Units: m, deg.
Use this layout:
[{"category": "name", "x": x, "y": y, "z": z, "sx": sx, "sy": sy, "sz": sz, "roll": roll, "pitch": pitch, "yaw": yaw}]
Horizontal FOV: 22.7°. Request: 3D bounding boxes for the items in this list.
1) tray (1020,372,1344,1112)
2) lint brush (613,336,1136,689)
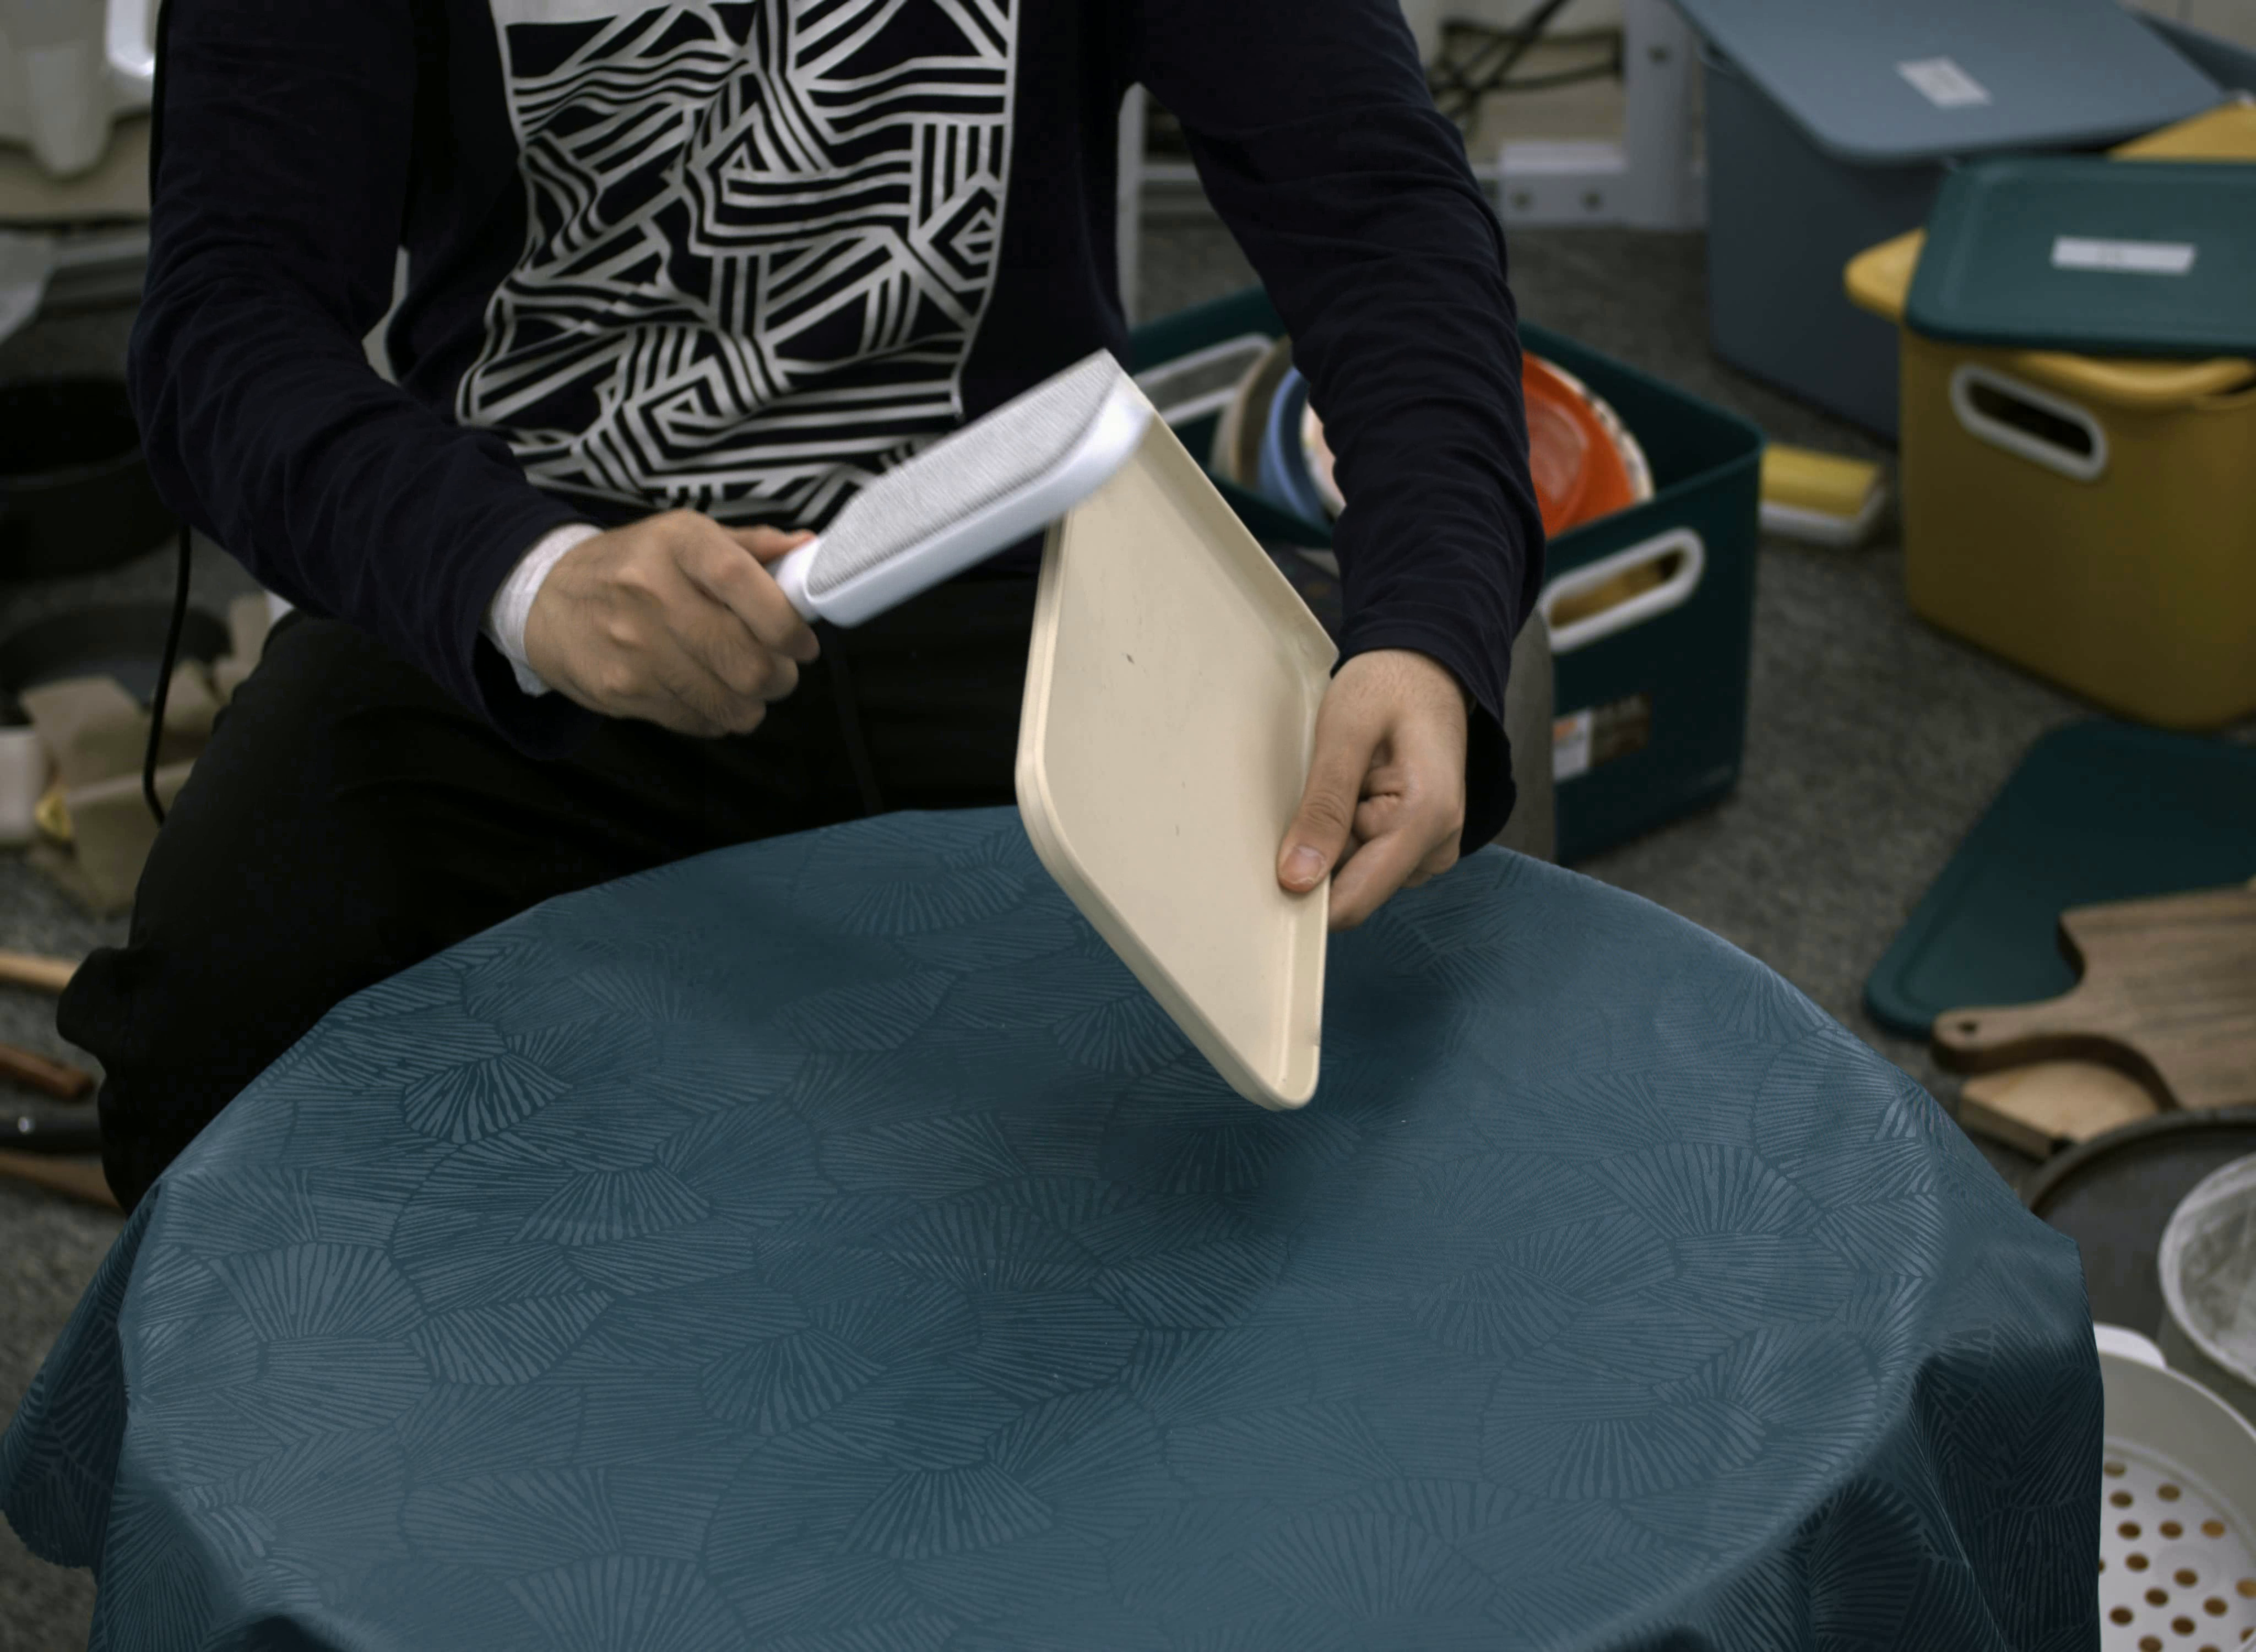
[{"category": "tray", "x": 0.019, "y": -0.030, "z": 1.862, "sx": 0.017, "sy": 0.170, "sz": 0.244, "roll": -23, "pitch": 37, "yaw": 24}, {"category": "lint brush", "x": -0.090, "y": -0.098, "z": 1.882, "sx": 0.304, "sy": 0.021, "sz": 0.061, "roll": -24, "pitch": 40, "yaw": 51}]
